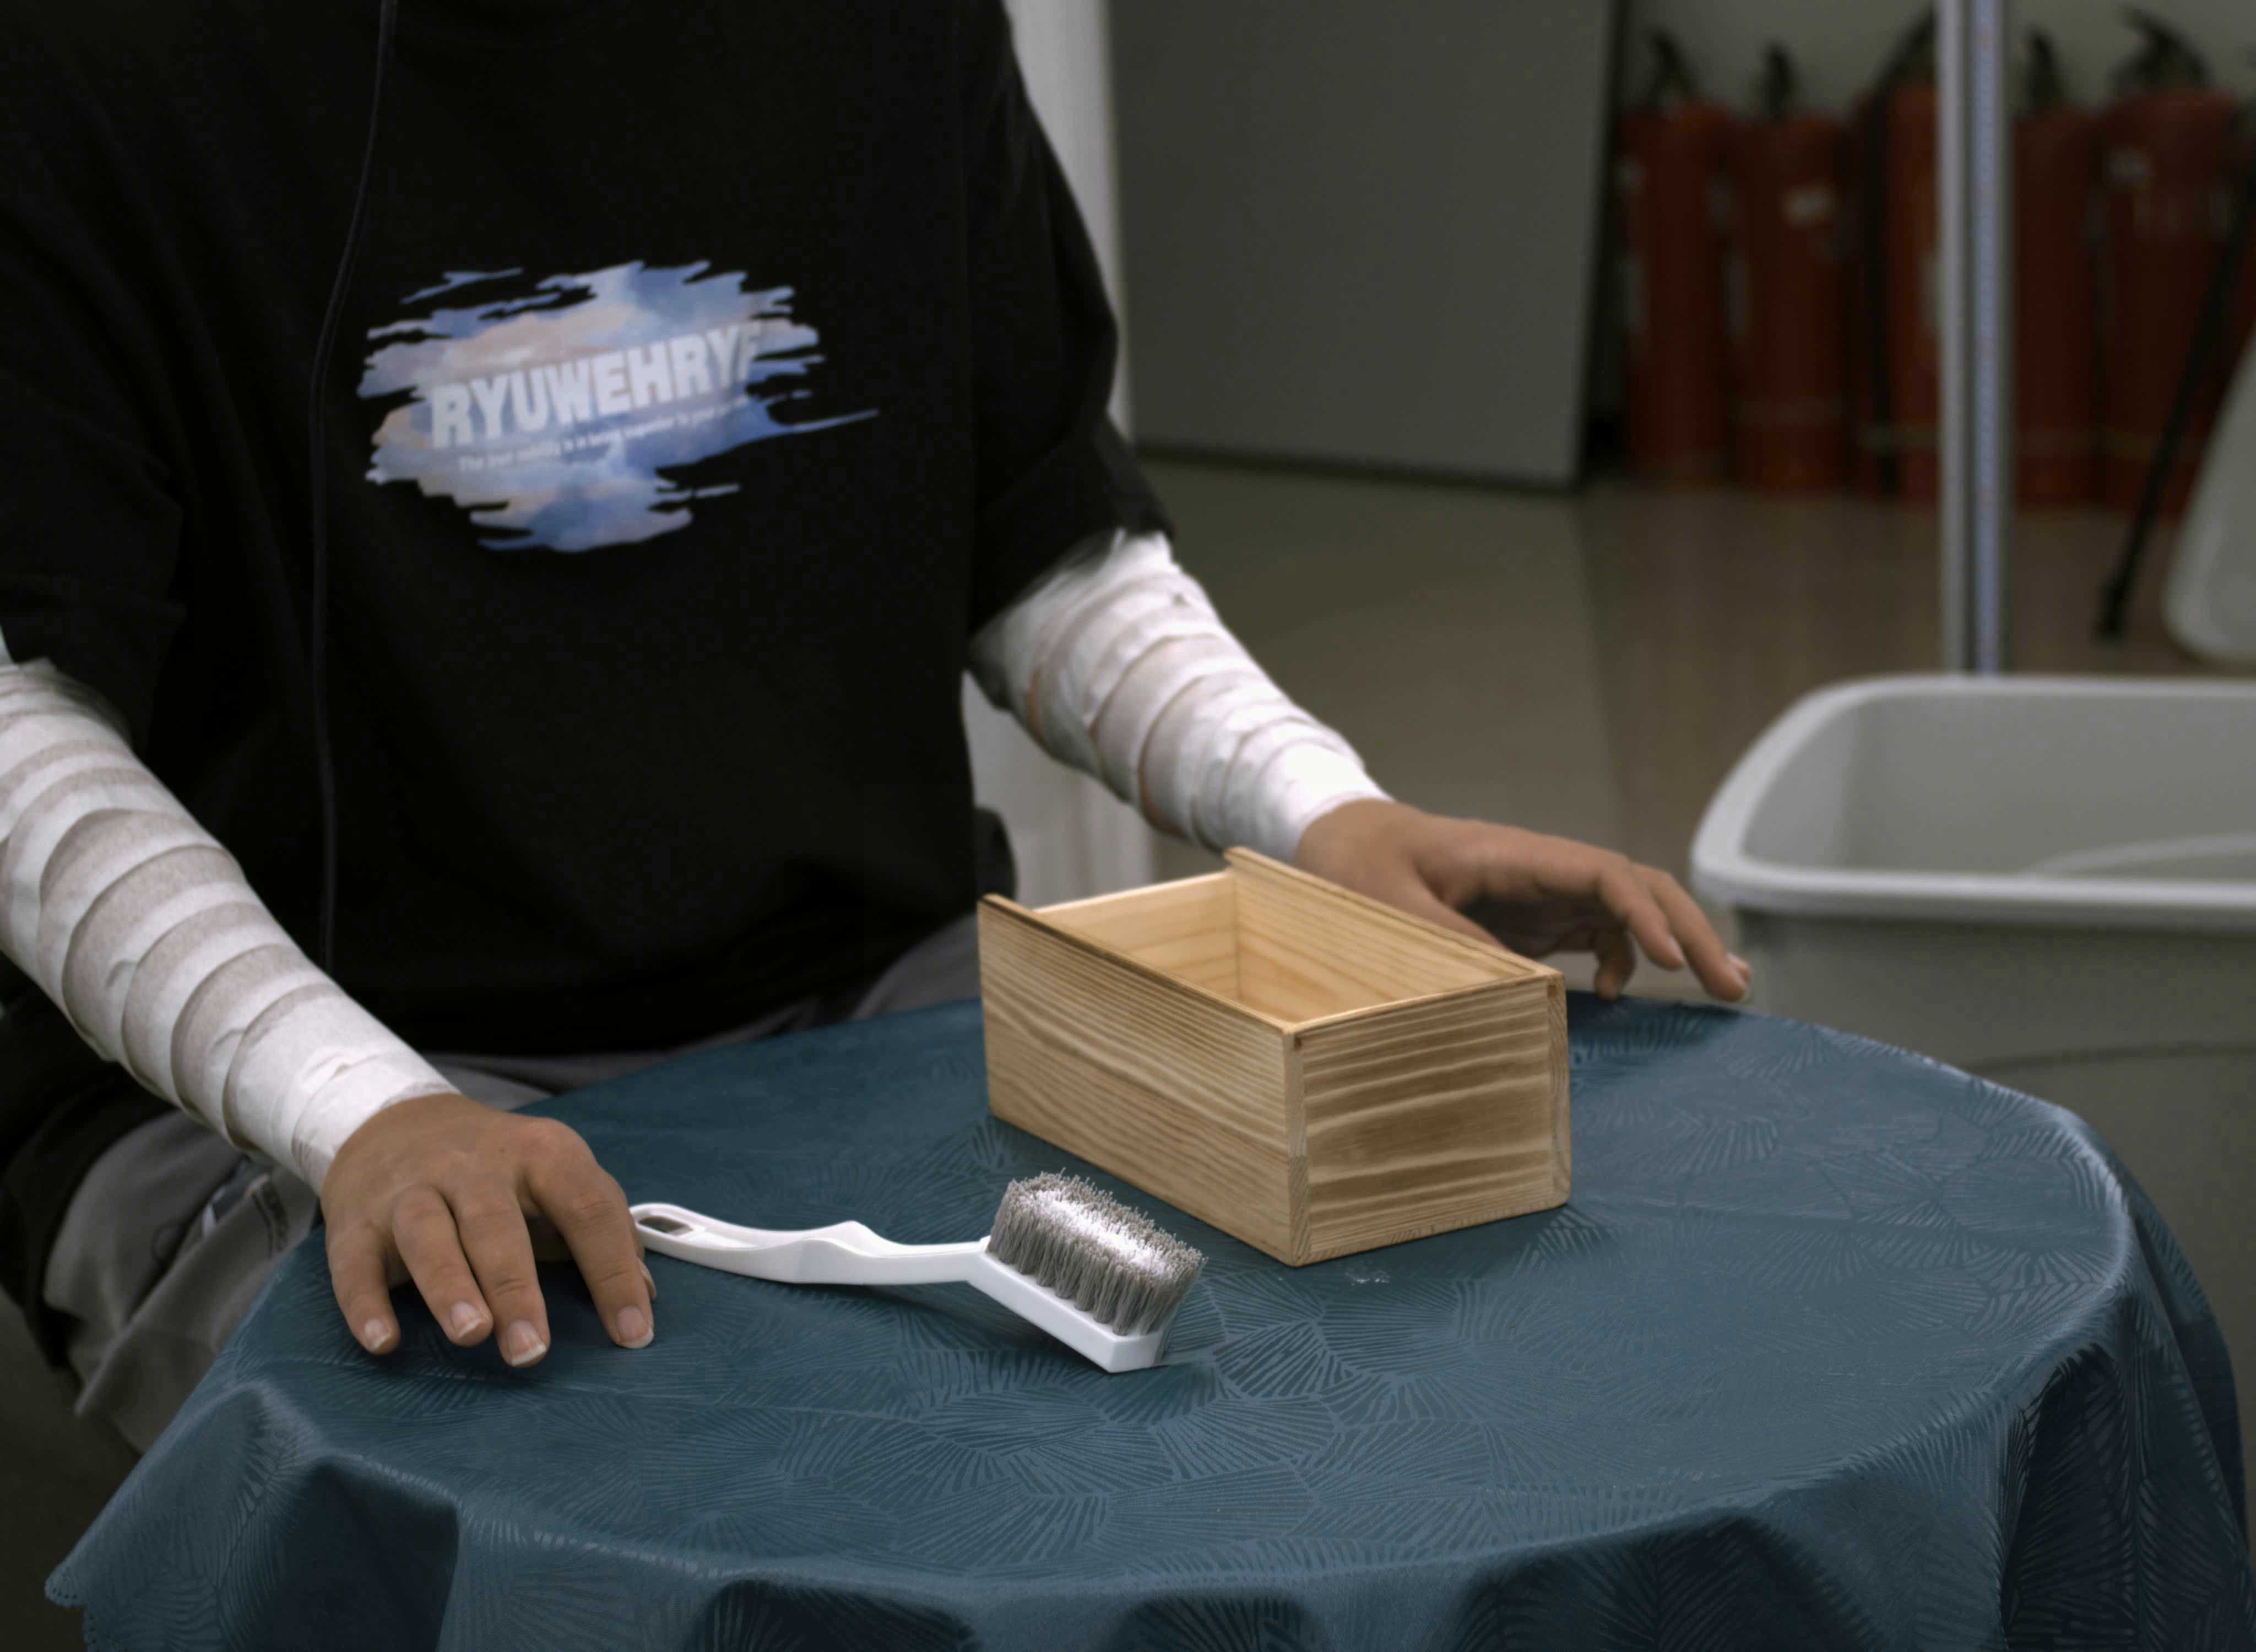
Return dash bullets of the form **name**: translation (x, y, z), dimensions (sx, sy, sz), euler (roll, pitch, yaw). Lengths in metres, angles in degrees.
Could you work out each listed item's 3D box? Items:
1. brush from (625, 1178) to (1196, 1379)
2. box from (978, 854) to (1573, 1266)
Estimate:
- **brush**: translation (-0.074, 0.124, 1.677), dimensions (0.033, 0.051, 0.246), euler (-16, 18, -43)
- **box**: translation (0.046, 0.074, 1.786), dimensions (0.105, 0.081, 0.213), euler (-11, 14, -27)
